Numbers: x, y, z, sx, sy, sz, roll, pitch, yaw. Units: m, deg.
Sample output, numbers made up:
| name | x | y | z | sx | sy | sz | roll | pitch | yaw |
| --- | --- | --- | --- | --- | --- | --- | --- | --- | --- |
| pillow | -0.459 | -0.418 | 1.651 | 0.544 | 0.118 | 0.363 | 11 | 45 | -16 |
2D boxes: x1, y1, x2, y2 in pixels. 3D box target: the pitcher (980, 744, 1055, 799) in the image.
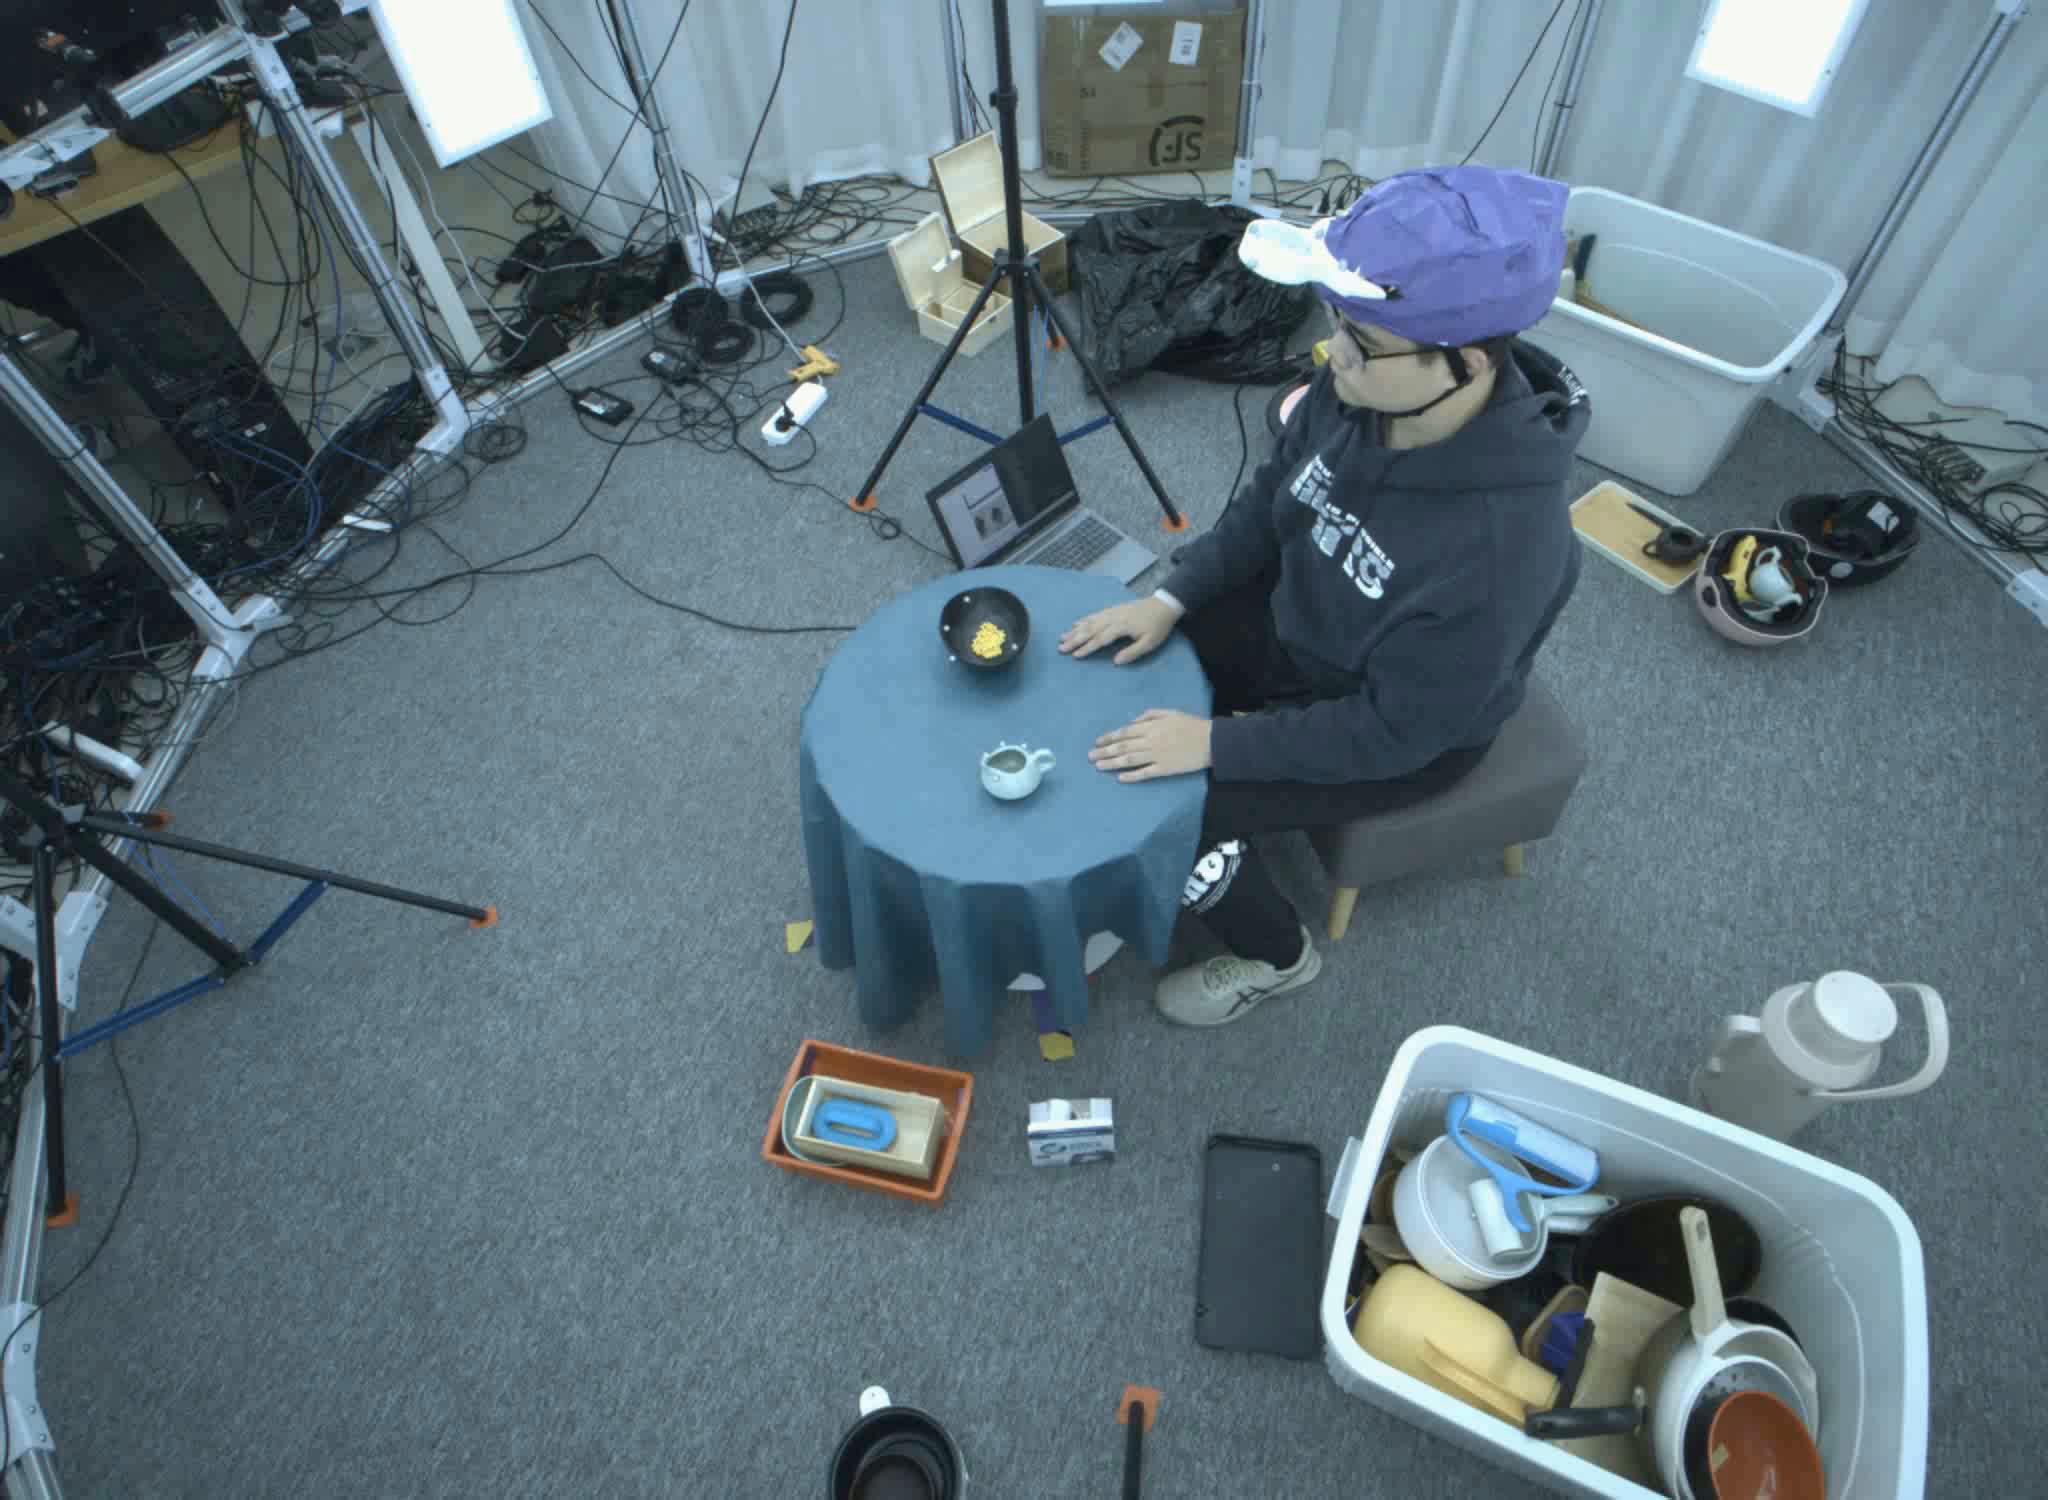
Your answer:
| name | x | y | z | sx | sy | sz | roll | pitch | yaw |
| --- | --- | --- | --- | --- | --- | --- | --- | --- | --- |
| pitcher | -0.009 | 0.025 | 1.736 | 0.108 | 0.061 | 0.085 | -9 | 56 | -7 |

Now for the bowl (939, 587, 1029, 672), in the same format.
| name | x | y | z | sx | sy | sz | roll | pitch | yaw |
| --- | --- | --- | --- | --- | --- | --- | --- | --- | --- |
| bowl | -0.060 | -0.176 | 1.875 | 0.138 | 0.067 | 0.168 | -8 | 54 | -4 |
